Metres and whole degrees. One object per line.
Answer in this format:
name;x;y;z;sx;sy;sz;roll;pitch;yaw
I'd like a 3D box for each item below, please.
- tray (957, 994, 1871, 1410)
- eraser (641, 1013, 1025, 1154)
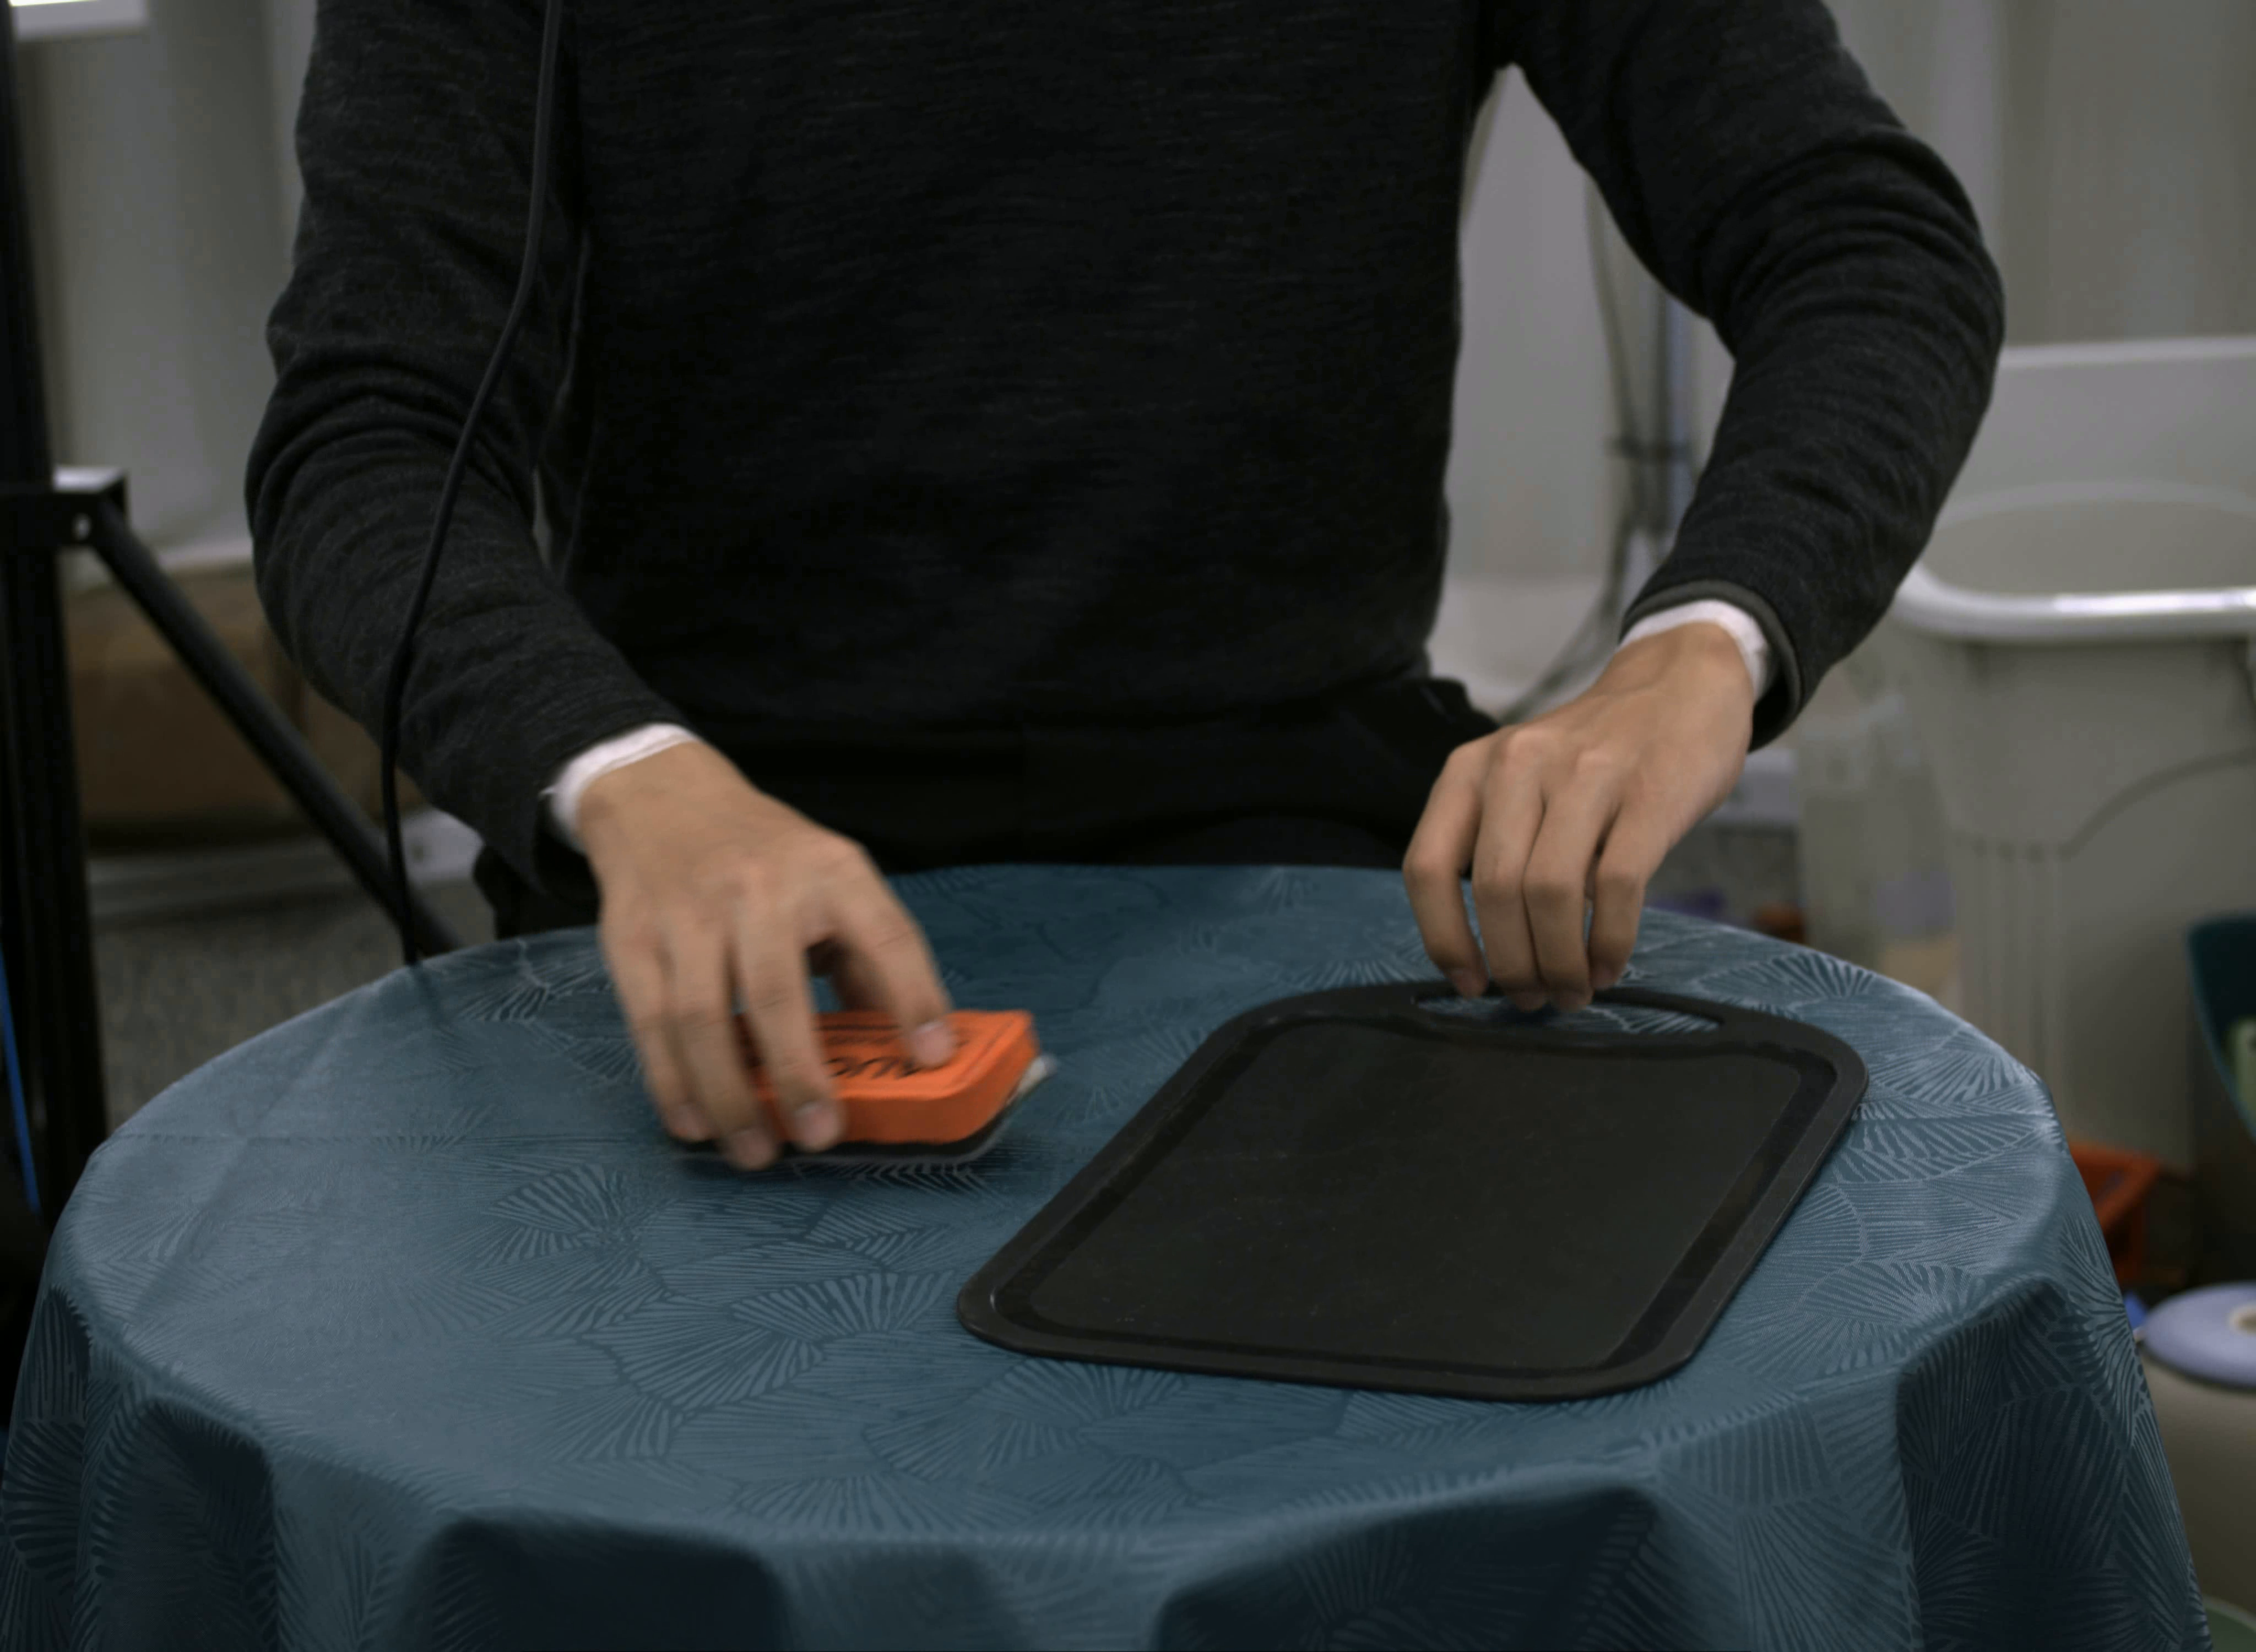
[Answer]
tray;0.092;0.101;1.550;0.214;0.010;0.321;4;18;21
eraser;-0.088;0.077;1.596;0.110;0.023;0.058;-2;19;29
